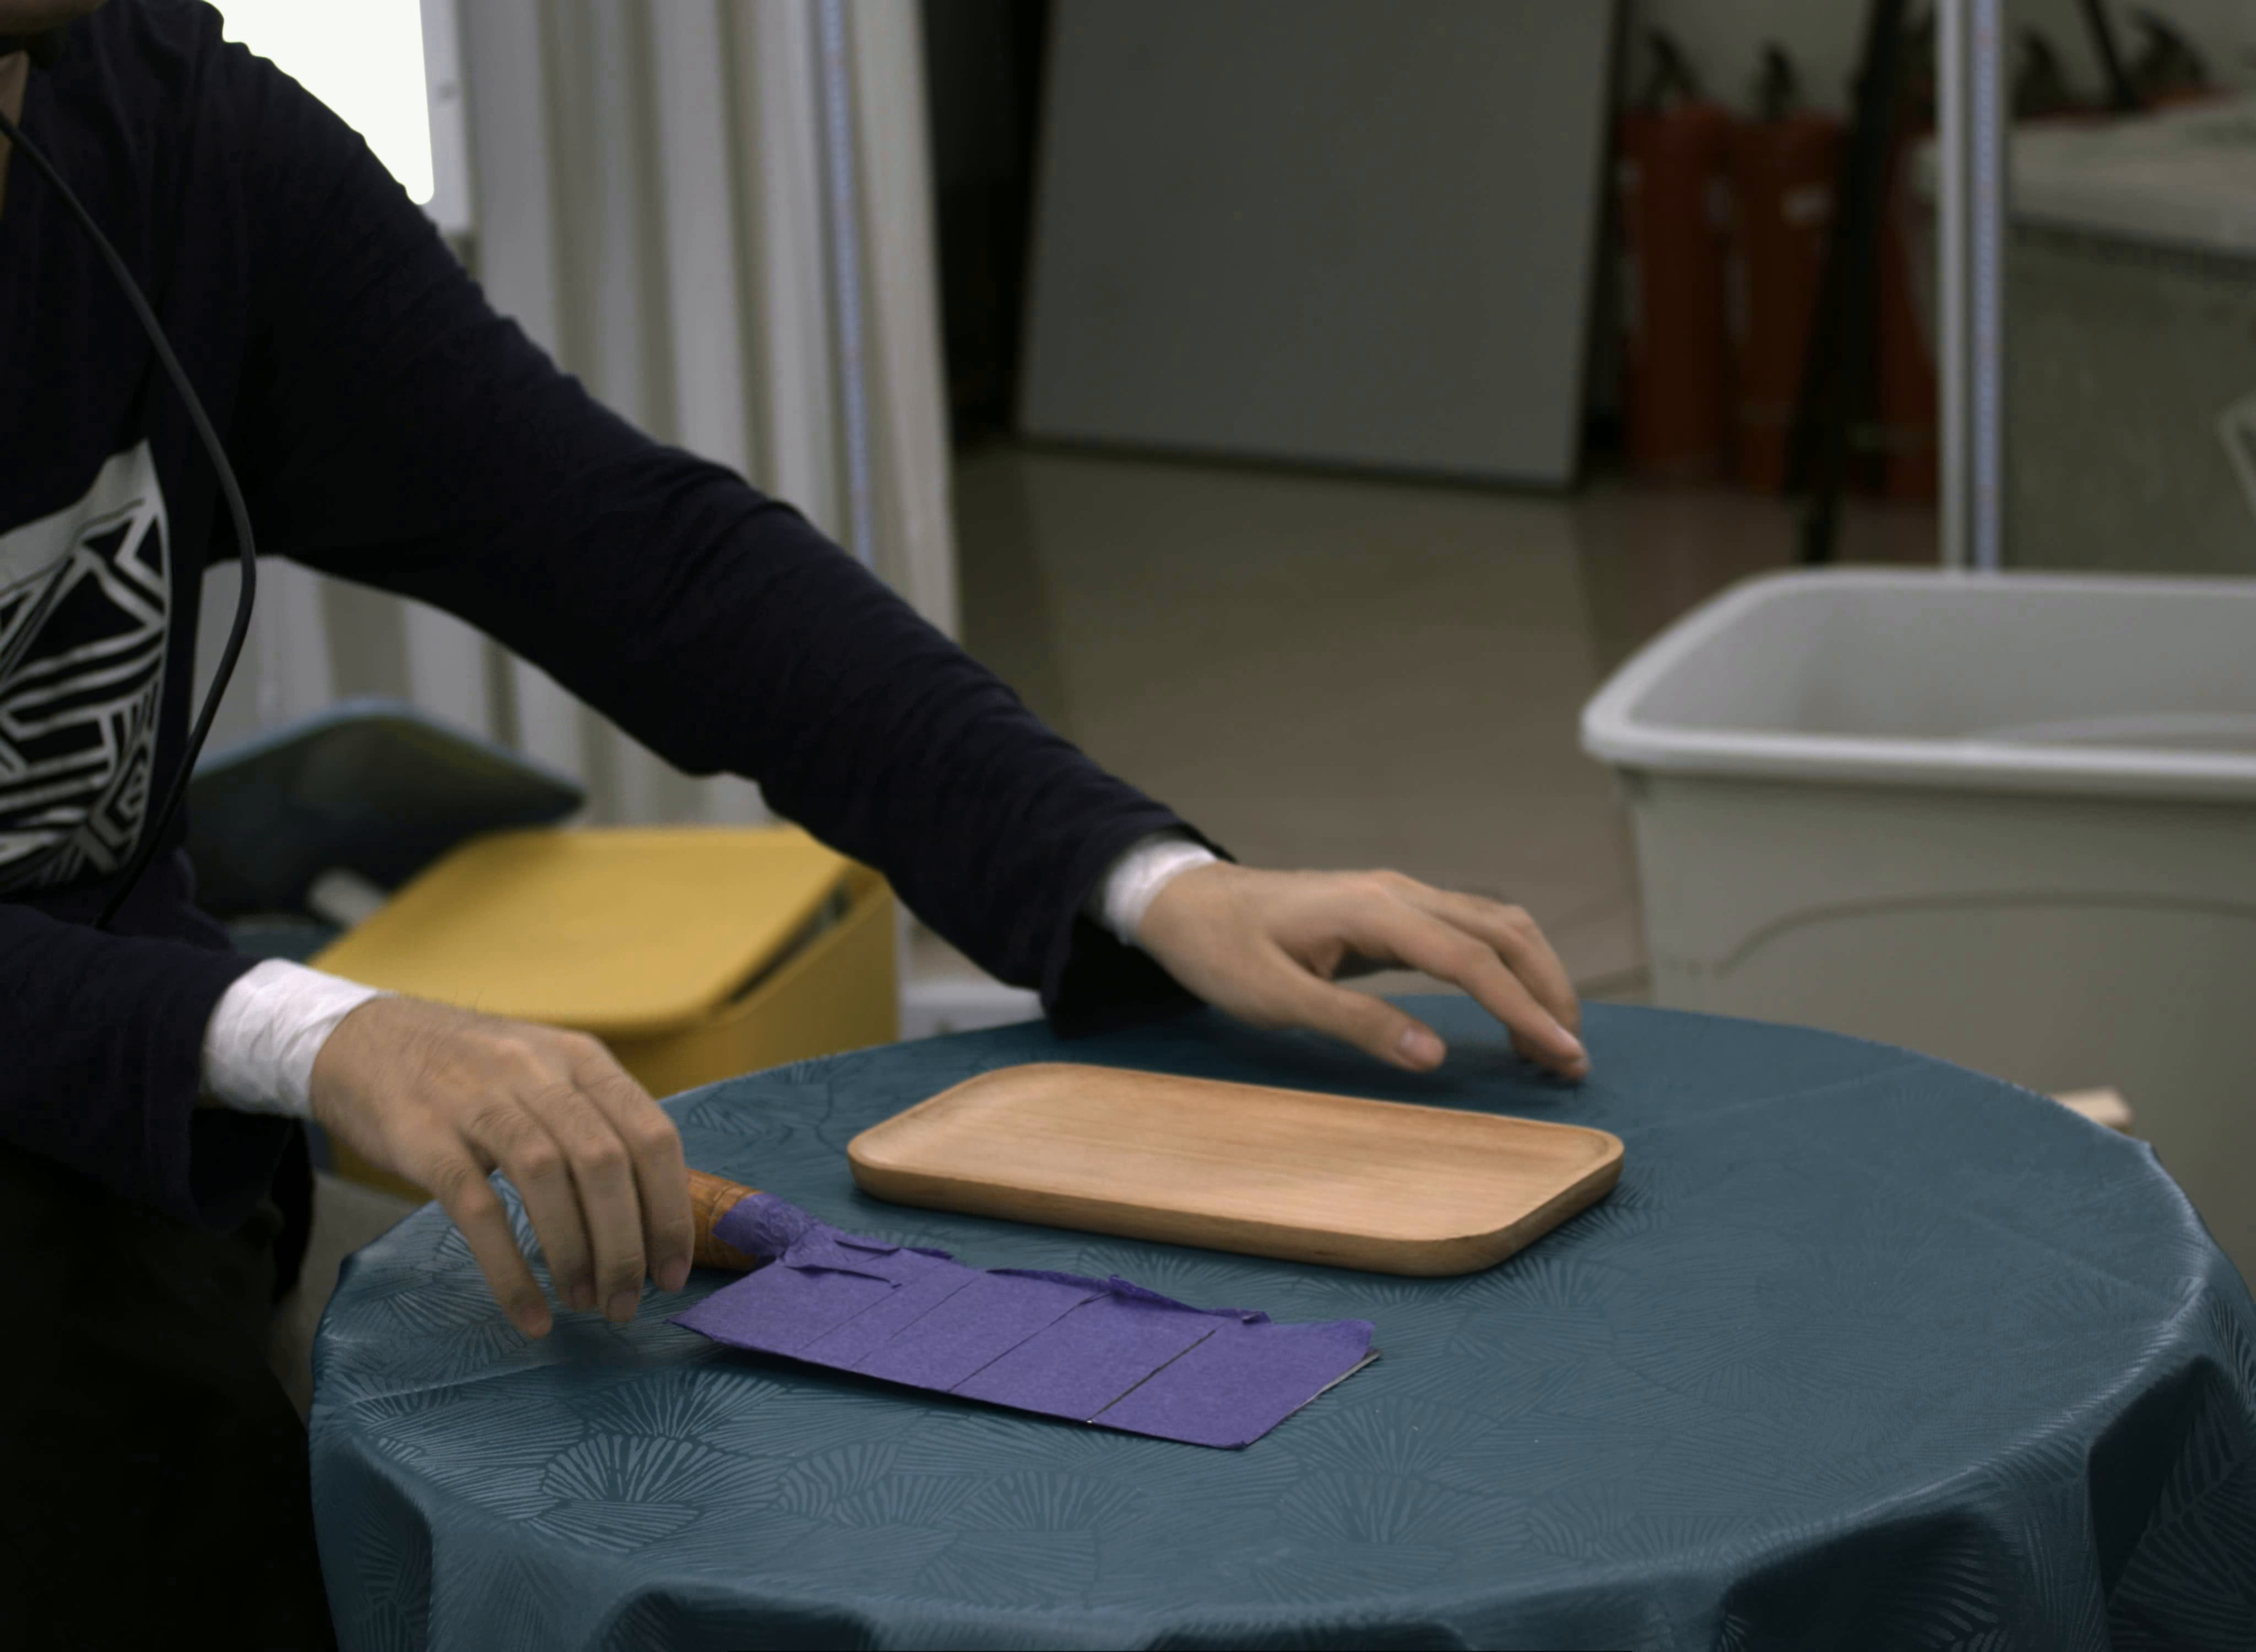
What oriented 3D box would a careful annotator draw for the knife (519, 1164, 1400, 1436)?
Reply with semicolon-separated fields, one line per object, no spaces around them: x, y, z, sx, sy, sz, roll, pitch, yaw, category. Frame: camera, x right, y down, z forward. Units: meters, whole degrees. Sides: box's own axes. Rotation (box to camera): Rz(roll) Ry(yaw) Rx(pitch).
-0.074;0.144;1.648;0.317;0.032;0.102;5;17;33;knife

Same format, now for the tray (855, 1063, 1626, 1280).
0.035;0.112;1.770;0.252;0.023;0.128;5;14;36;tray
